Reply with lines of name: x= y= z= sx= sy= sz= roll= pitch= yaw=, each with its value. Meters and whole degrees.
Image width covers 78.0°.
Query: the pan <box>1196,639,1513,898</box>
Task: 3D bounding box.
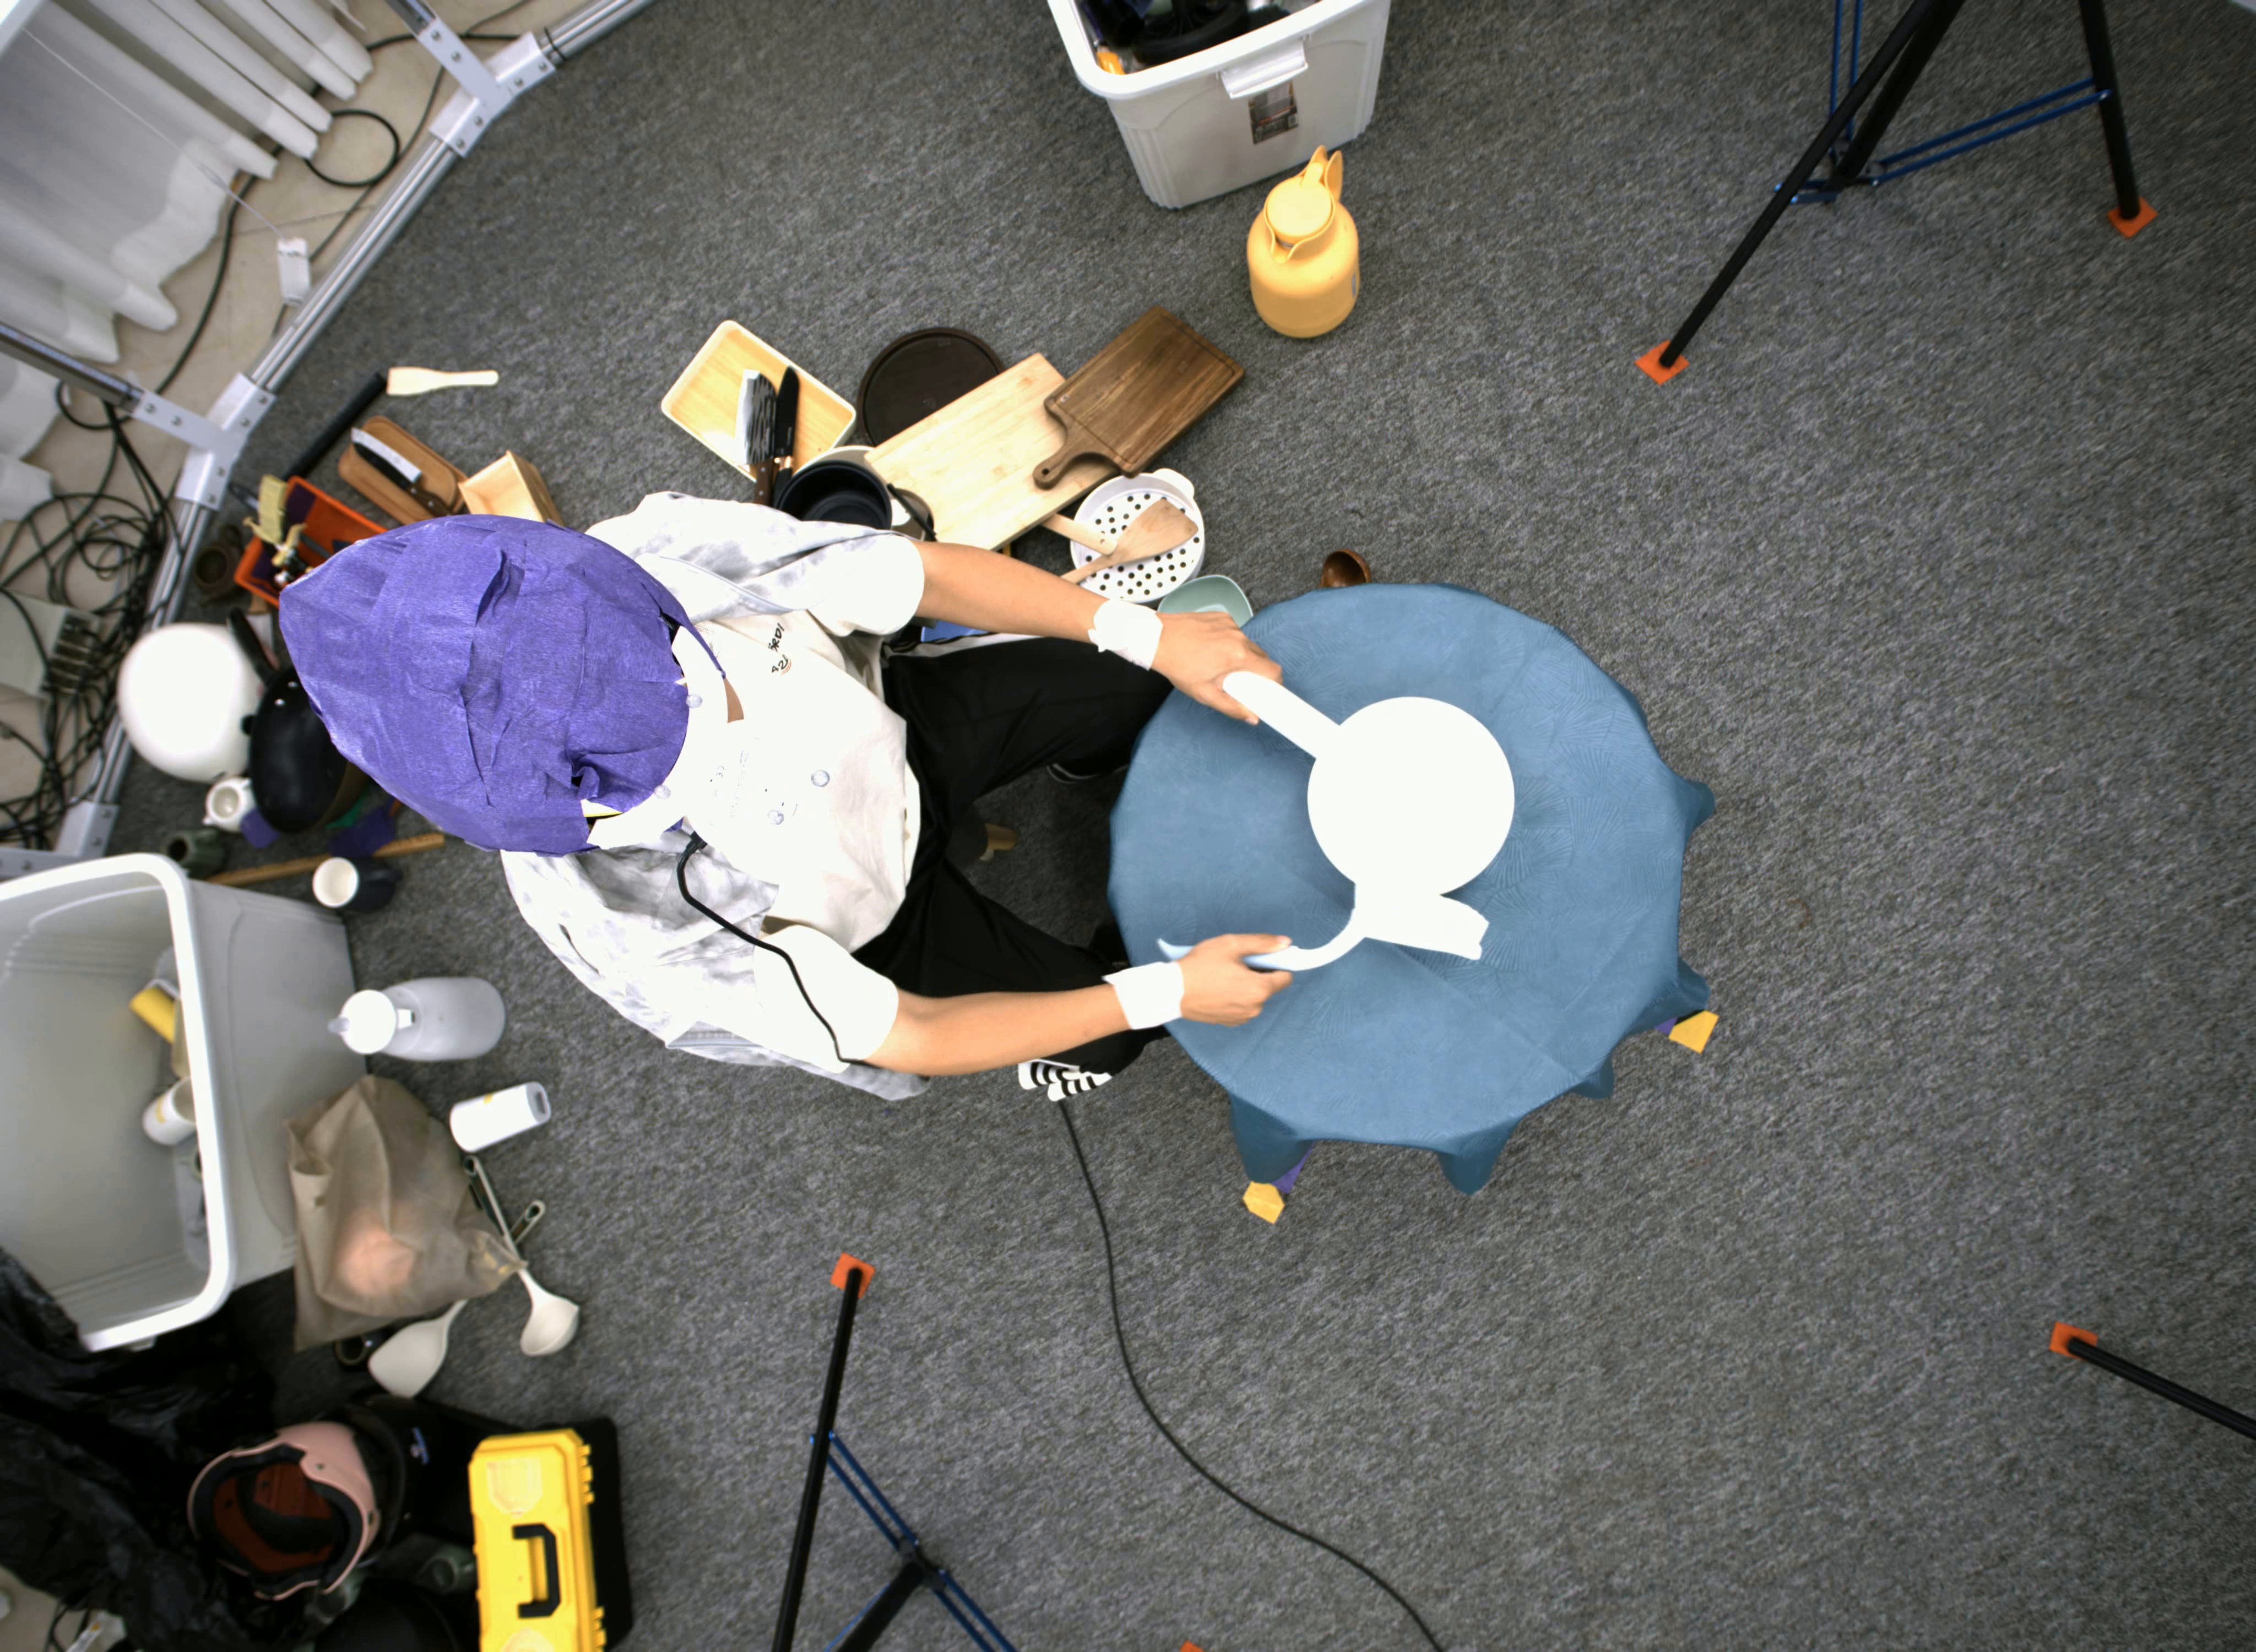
pan: x=0.225 y=-0.070 z=1.422 sx=0.353 sy=0.102 sz=0.201 roll=36 pitch=93 yaw=11

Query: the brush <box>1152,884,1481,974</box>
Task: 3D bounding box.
brush: x=0.186 y=0.093 z=1.377 sx=0.326 sy=0.082 sz=0.085 roll=0 pitch=125 yaw=7
